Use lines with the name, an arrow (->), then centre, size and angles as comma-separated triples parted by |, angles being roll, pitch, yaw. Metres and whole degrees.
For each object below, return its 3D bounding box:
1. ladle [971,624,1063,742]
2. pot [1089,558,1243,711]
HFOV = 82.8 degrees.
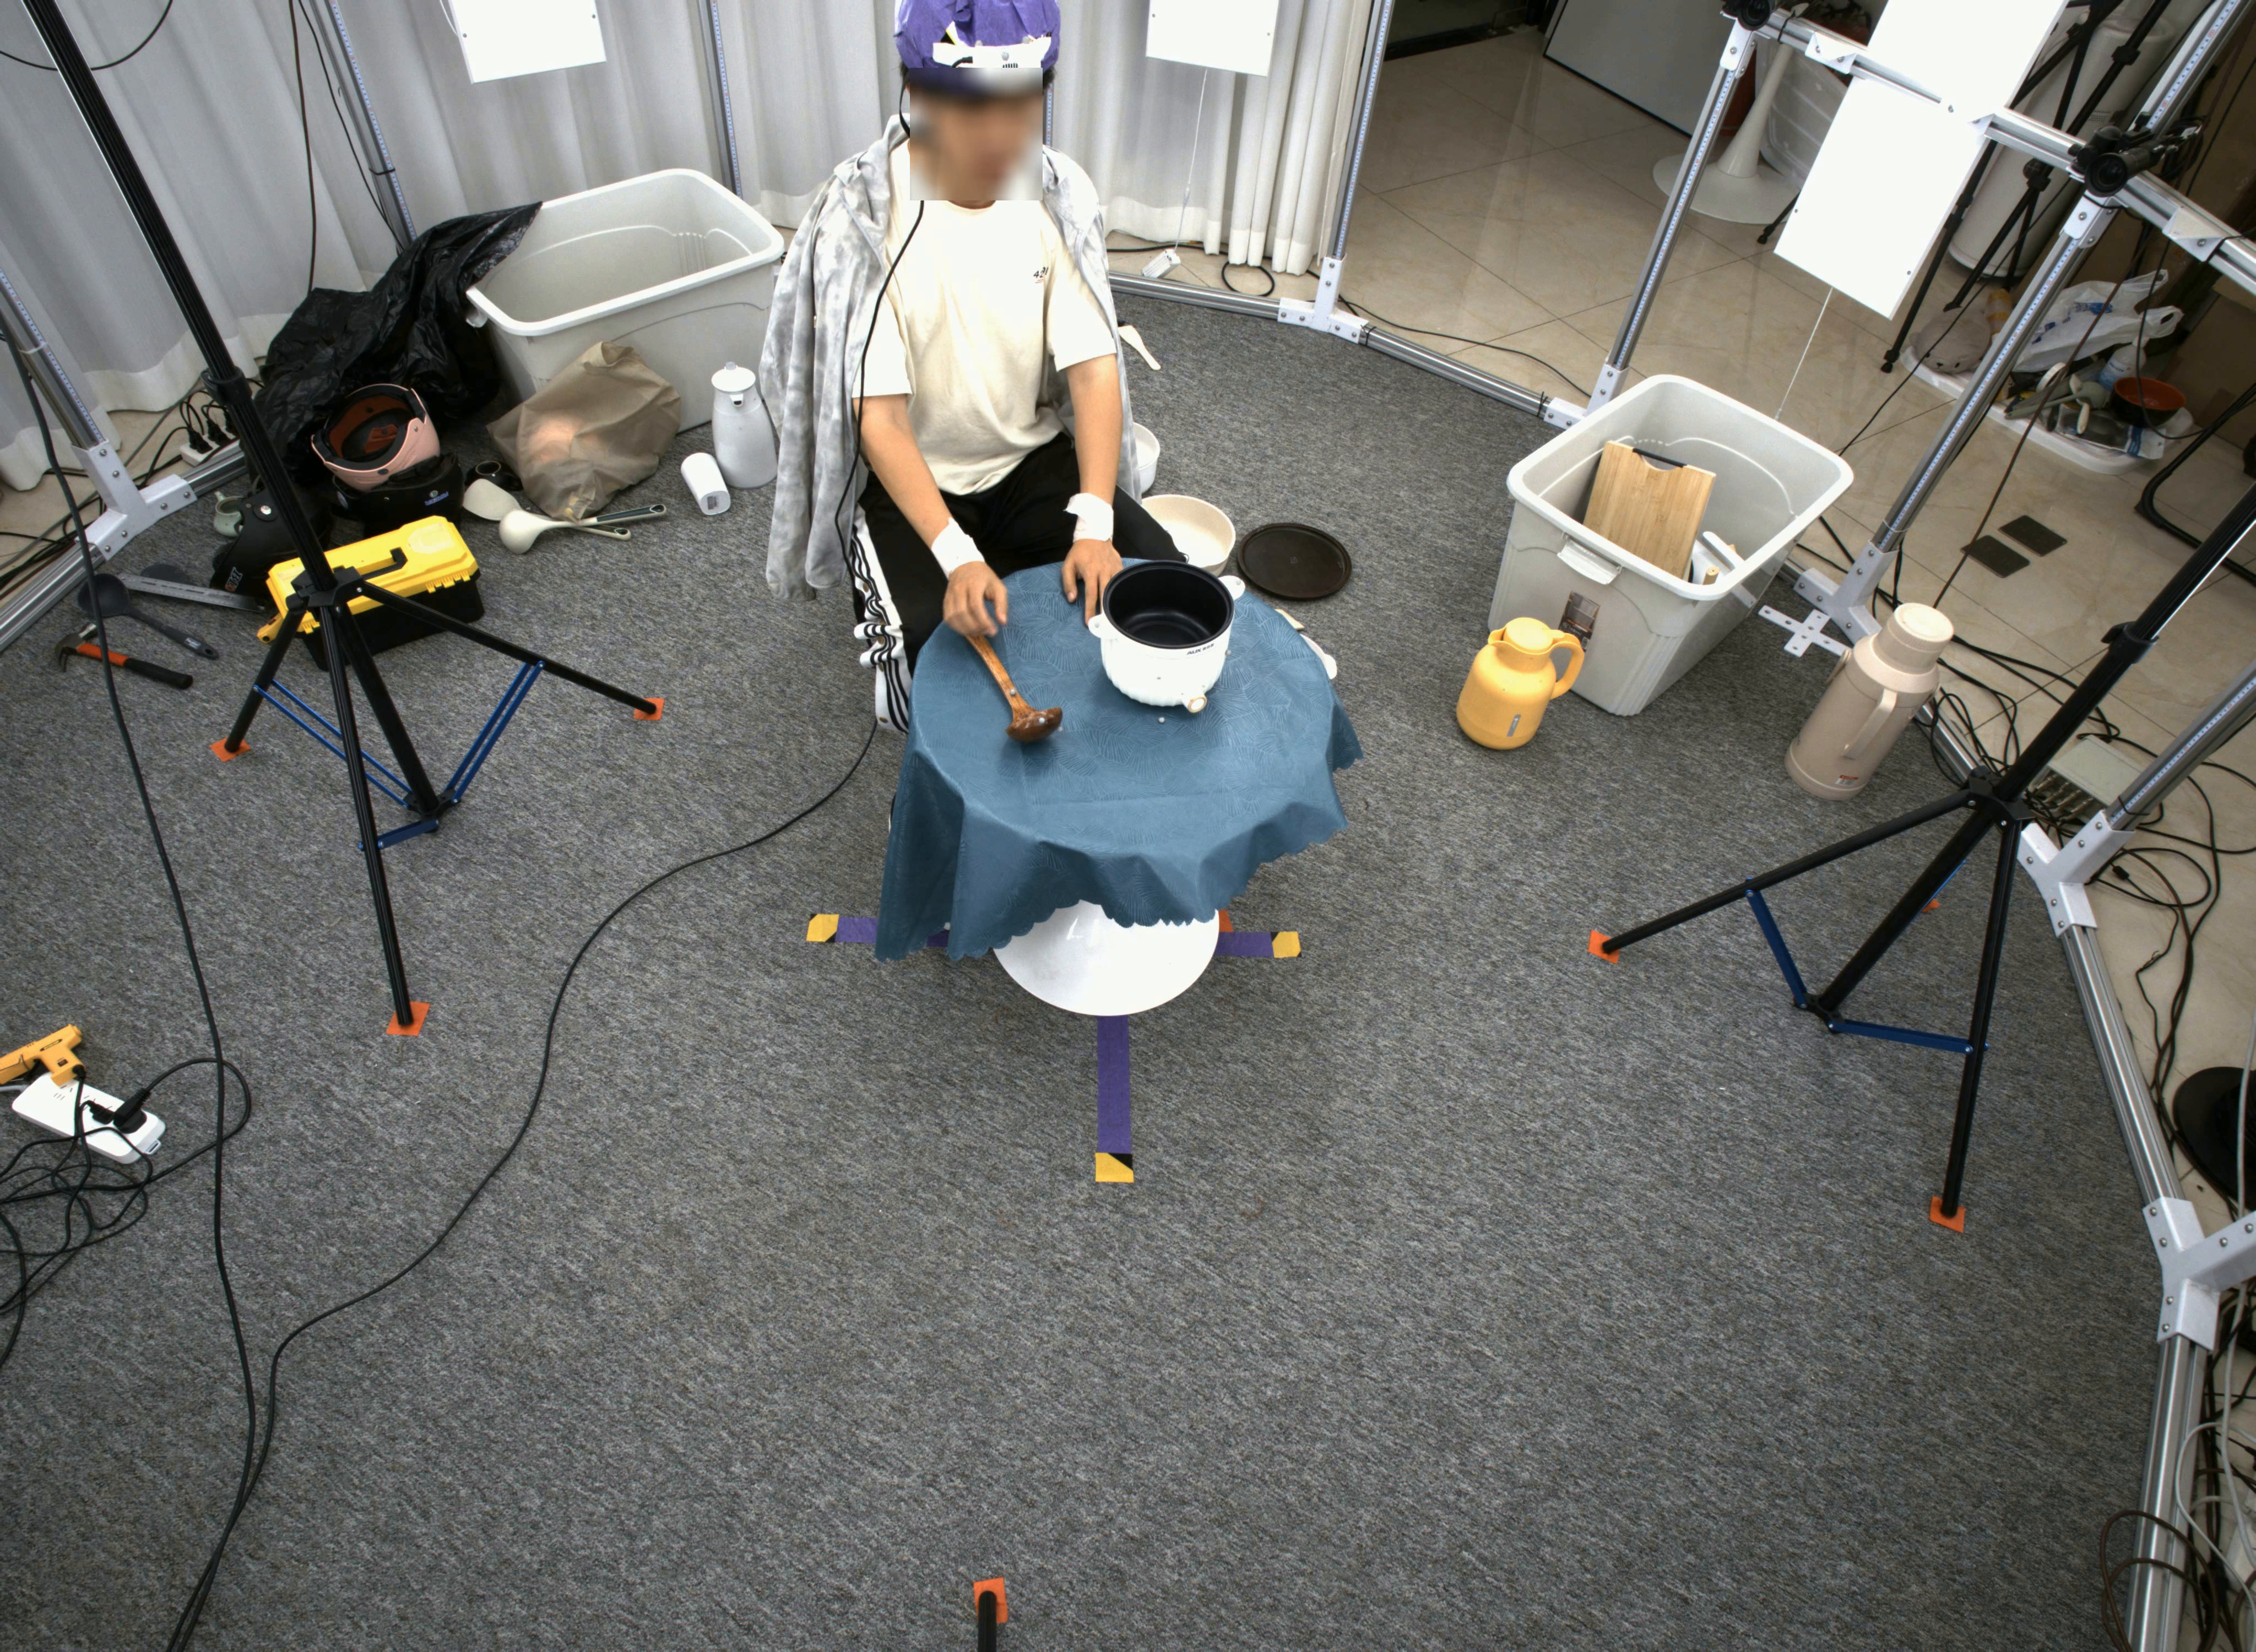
ladle -> -0.170, -0.214, 1.787 | 0.082, 0.075, 0.280 | -18, 53, -15
pot -> 0.055, -0.262, 1.802 | 0.241, 0.139, 0.195 | -21, 50, -20
